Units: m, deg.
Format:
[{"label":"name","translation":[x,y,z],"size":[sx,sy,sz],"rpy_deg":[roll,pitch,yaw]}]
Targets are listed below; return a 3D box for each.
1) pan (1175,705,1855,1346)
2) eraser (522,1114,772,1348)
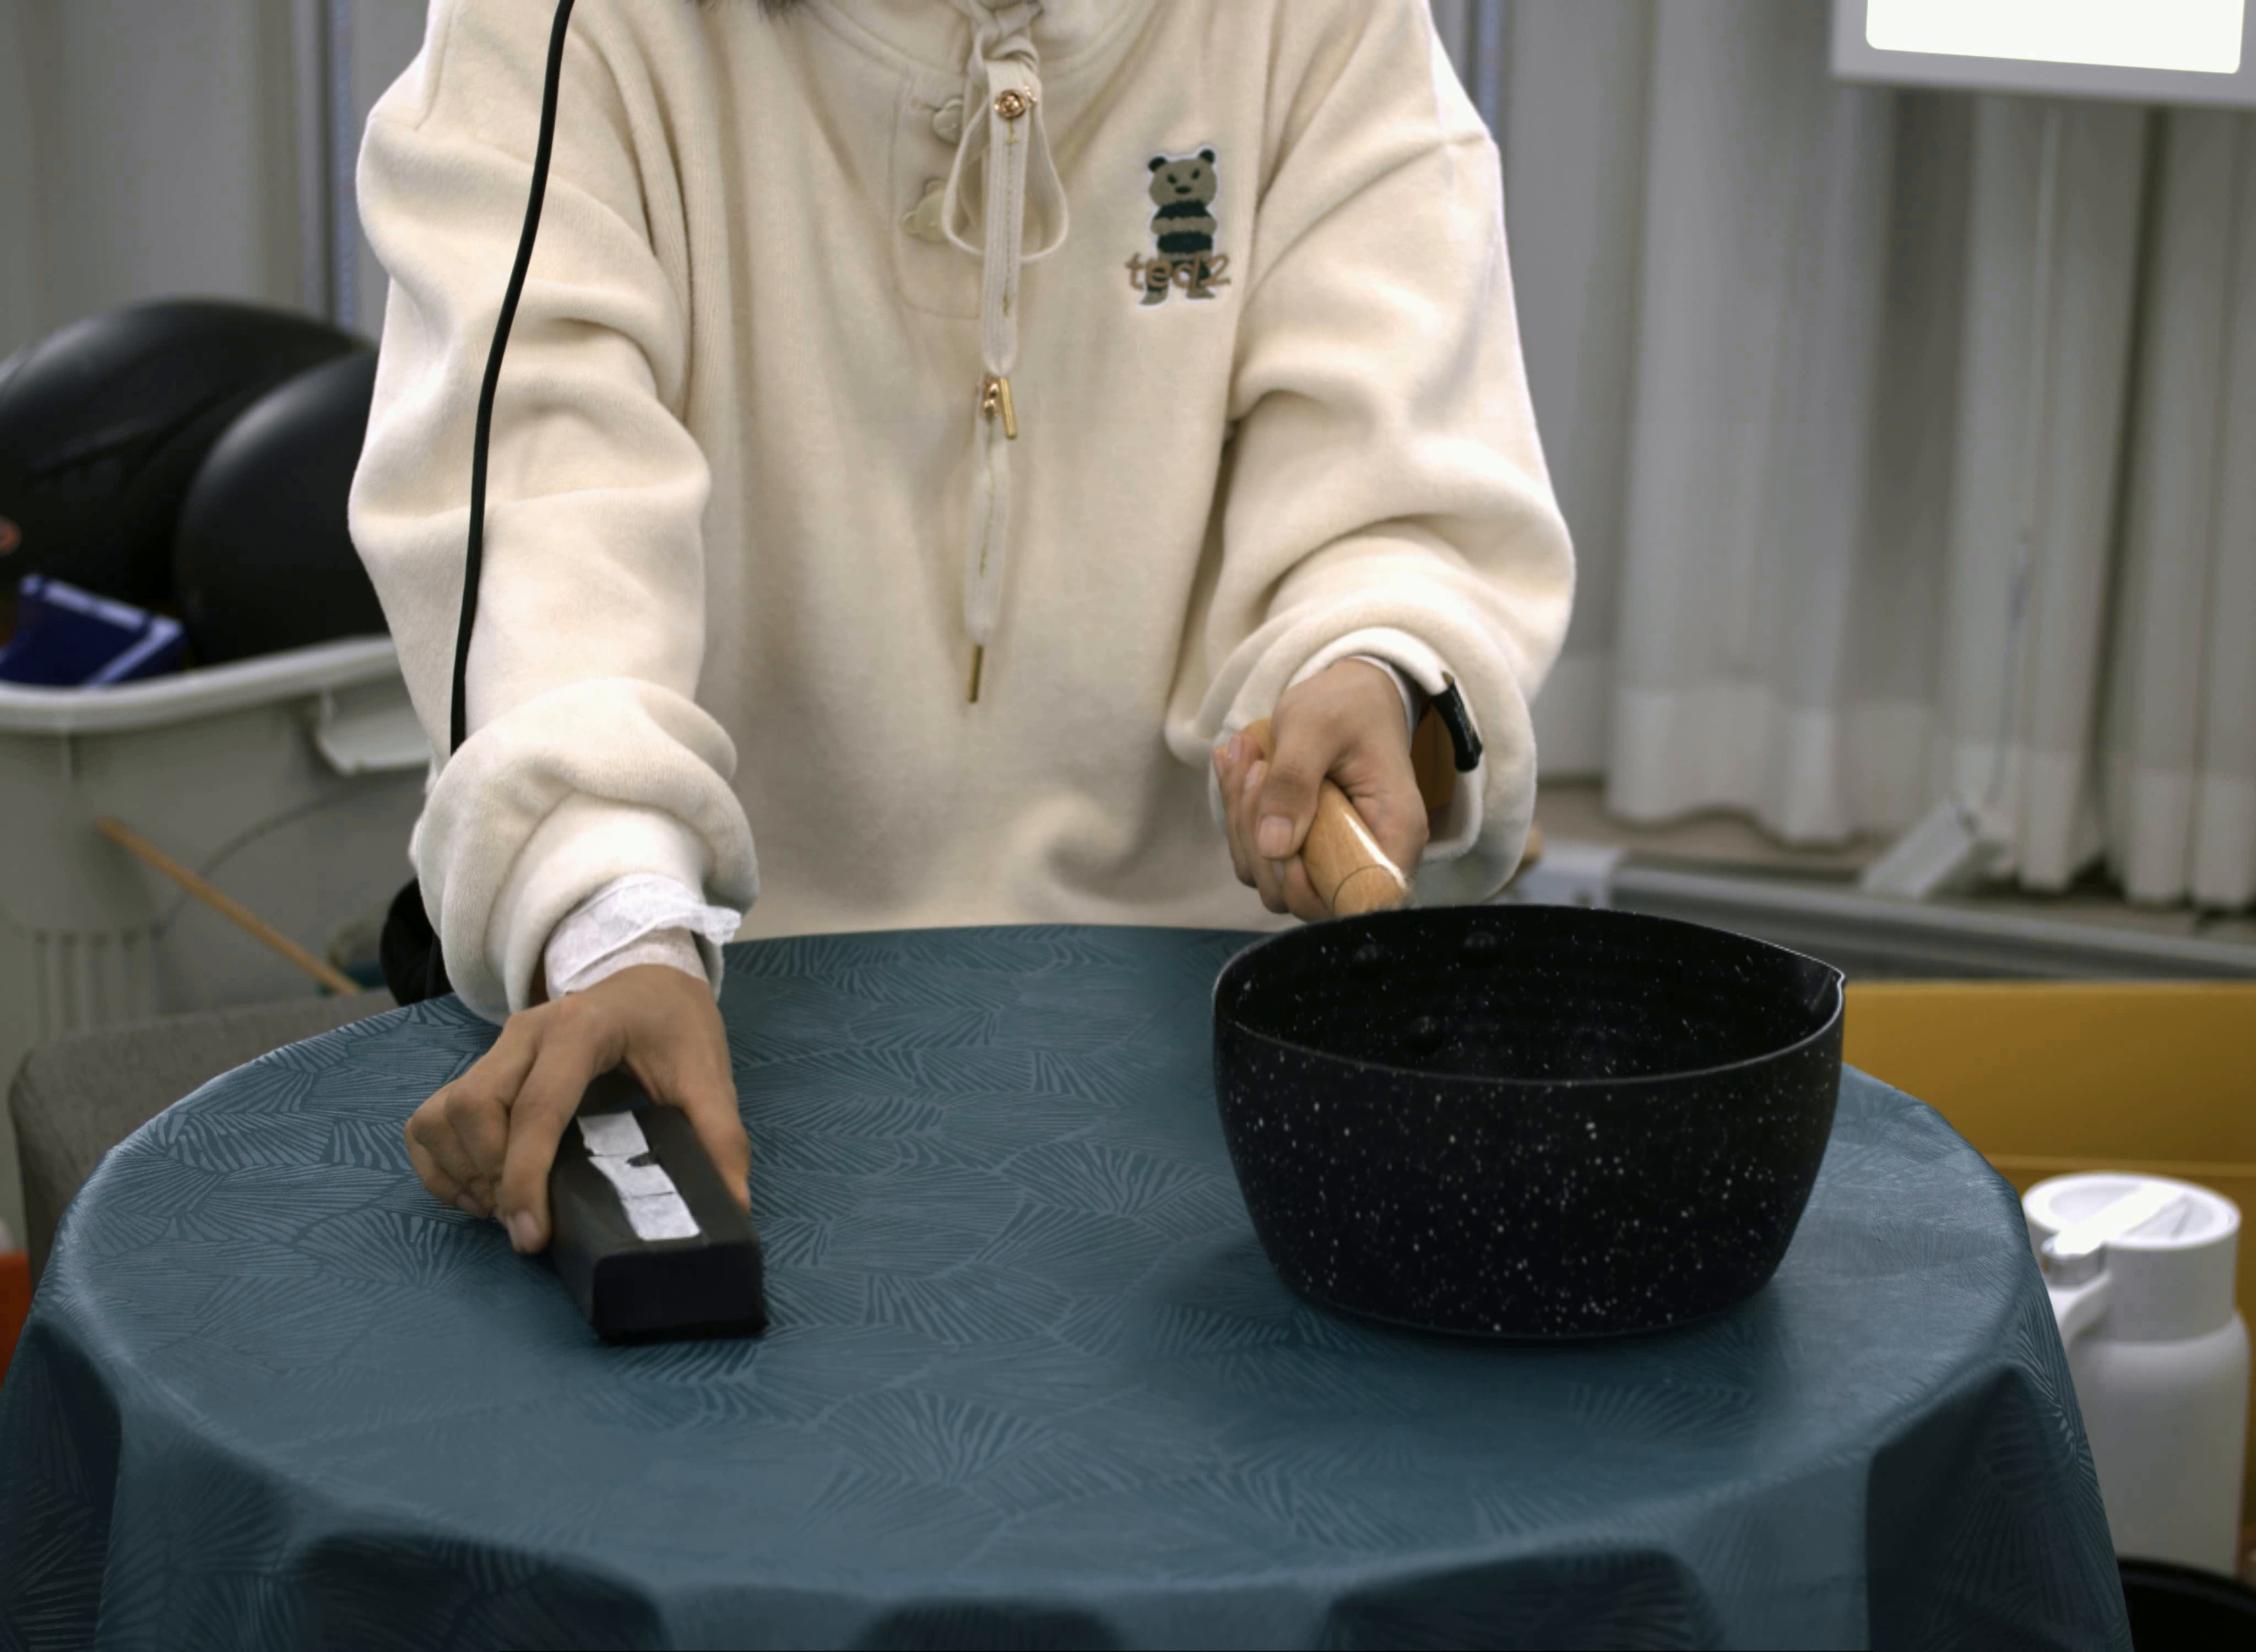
[{"label":"pan","translation":[0.092,0.056,1.615],"size":[0.208,0.109,0.339],"rpy_deg":[-4,17,-18]},{"label":"eraser","translation":[-0.142,0.117,1.542],"size":[0.053,0.031,0.124],"rpy_deg":[-4,17,-15]}]
